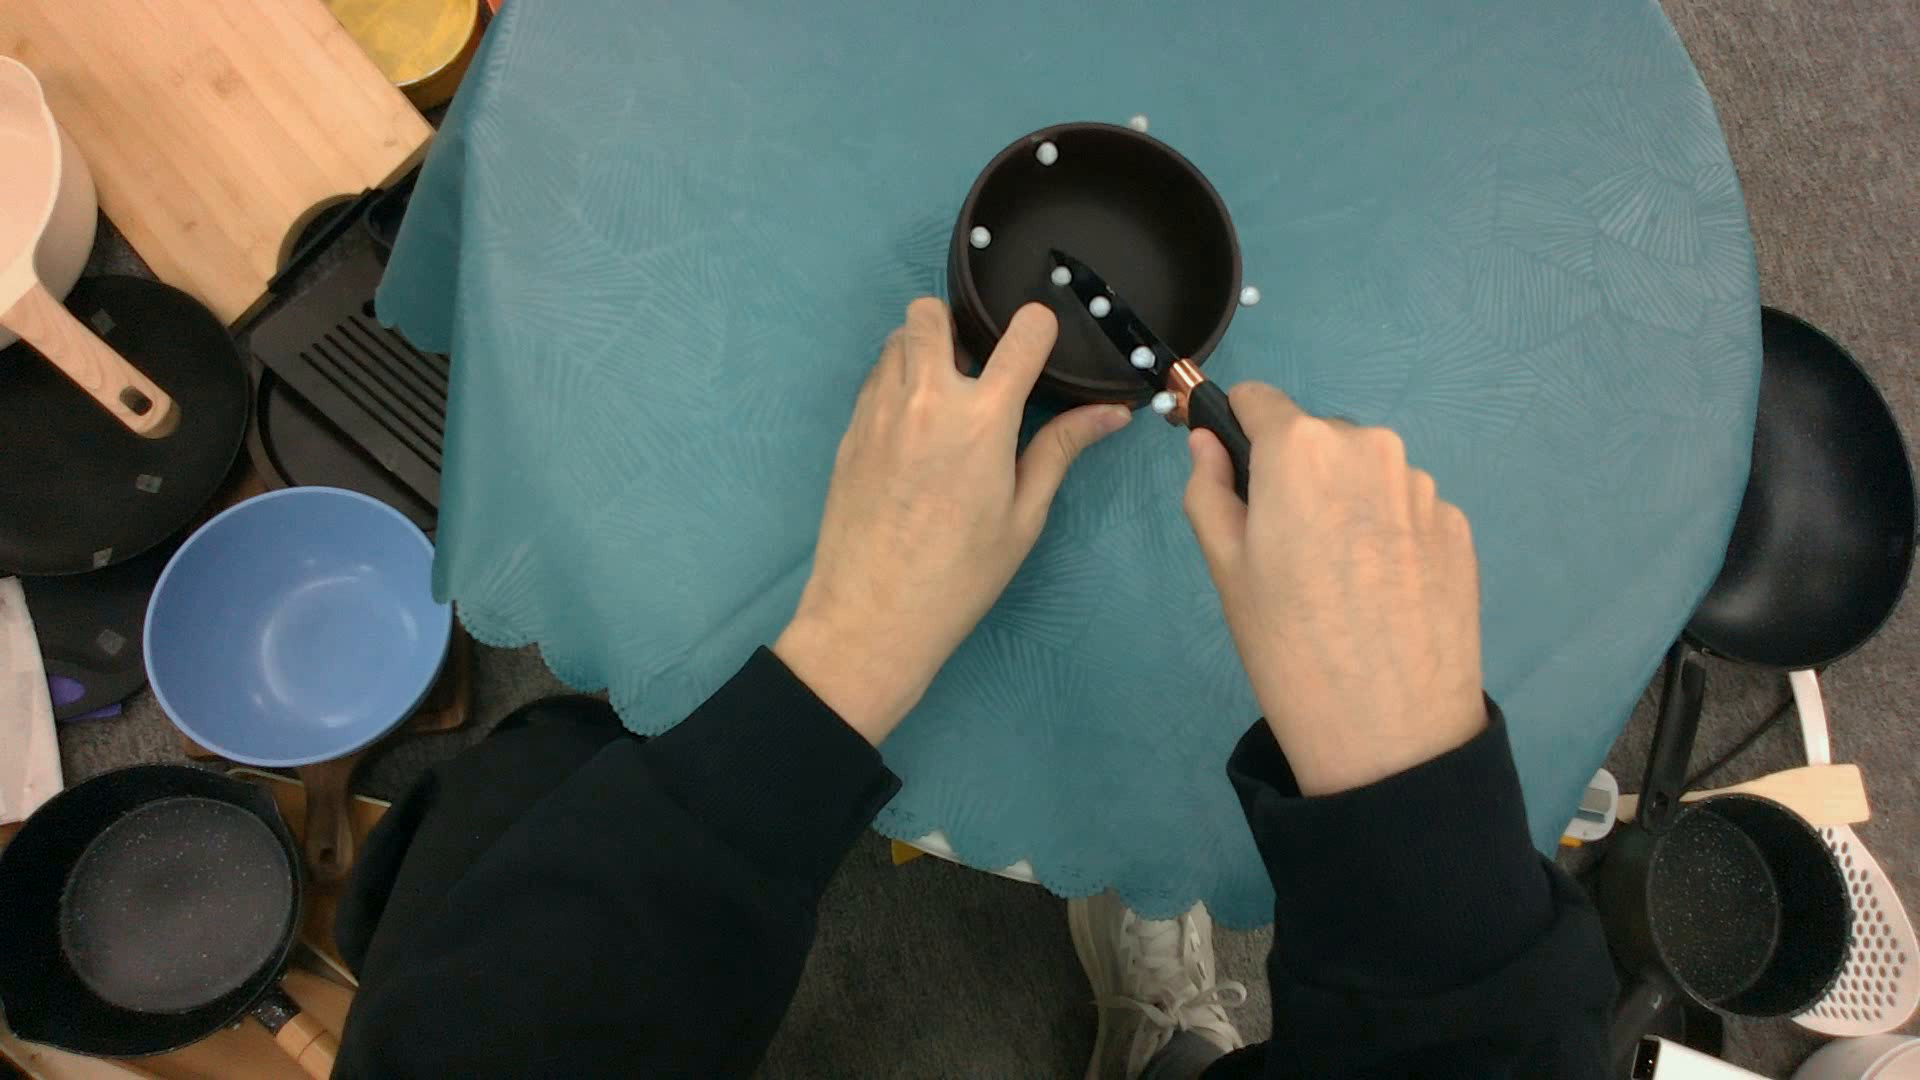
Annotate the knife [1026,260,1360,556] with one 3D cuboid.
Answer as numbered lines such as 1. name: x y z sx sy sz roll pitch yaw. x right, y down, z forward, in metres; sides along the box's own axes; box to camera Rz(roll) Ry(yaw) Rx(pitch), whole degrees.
1. knife: 0.075 -0.062 0.509 0.017 0.026 0.226 -16 40 -18

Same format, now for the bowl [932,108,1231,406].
1. bowl: 0.046 -0.110 0.570 0.118 0.069 0.118 2 77 -7
